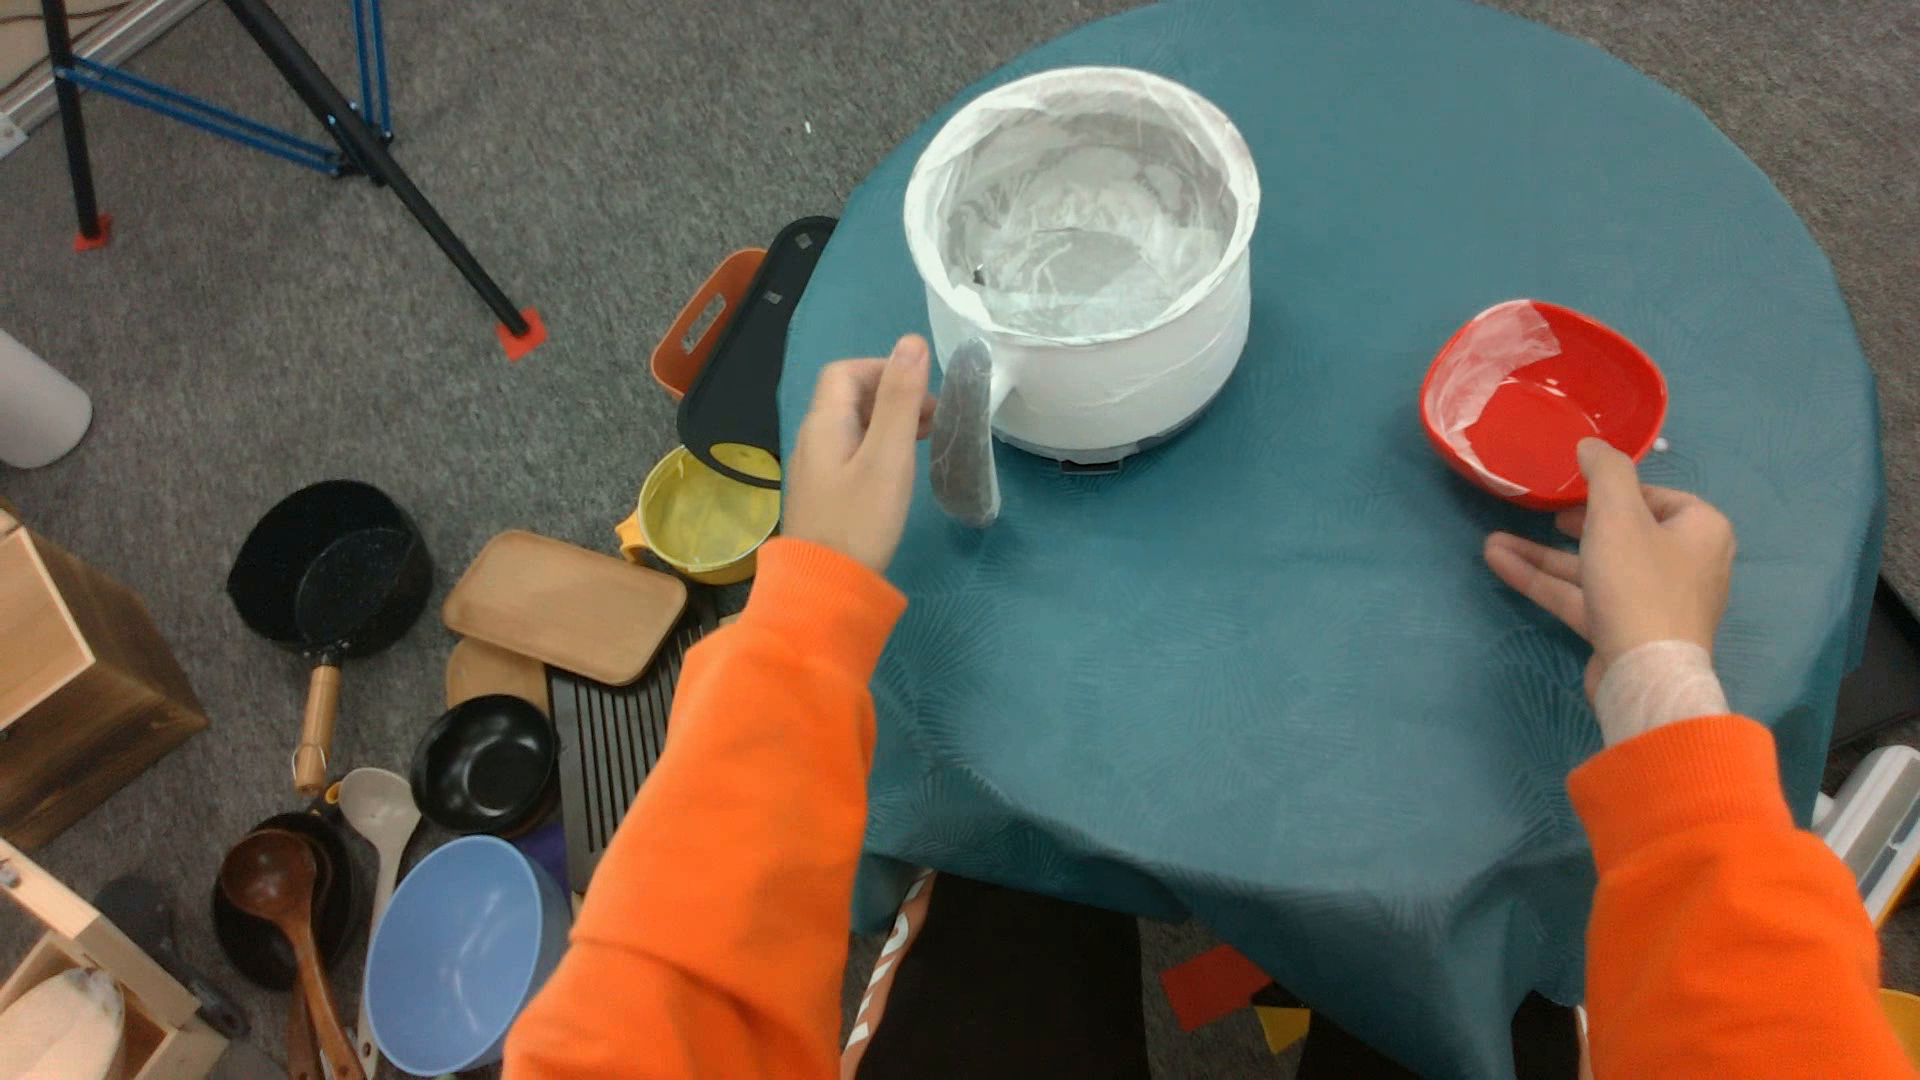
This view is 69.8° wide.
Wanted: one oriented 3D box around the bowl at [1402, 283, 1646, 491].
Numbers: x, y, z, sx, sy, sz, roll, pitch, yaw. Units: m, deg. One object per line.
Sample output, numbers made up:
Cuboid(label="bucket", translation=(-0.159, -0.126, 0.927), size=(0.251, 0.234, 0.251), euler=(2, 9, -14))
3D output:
Cuboid(label="bowl", translation=(0.288, -0.072, 0.719), size=(0.119, 0.051, 0.119), euler=(-3, 63, 5))

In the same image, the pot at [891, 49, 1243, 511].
Cuboid(label="pot", translation=(0.047, -0.130, 0.735), size=(0.178, 0.136, 0.234), euler=(24, 69, 19))
